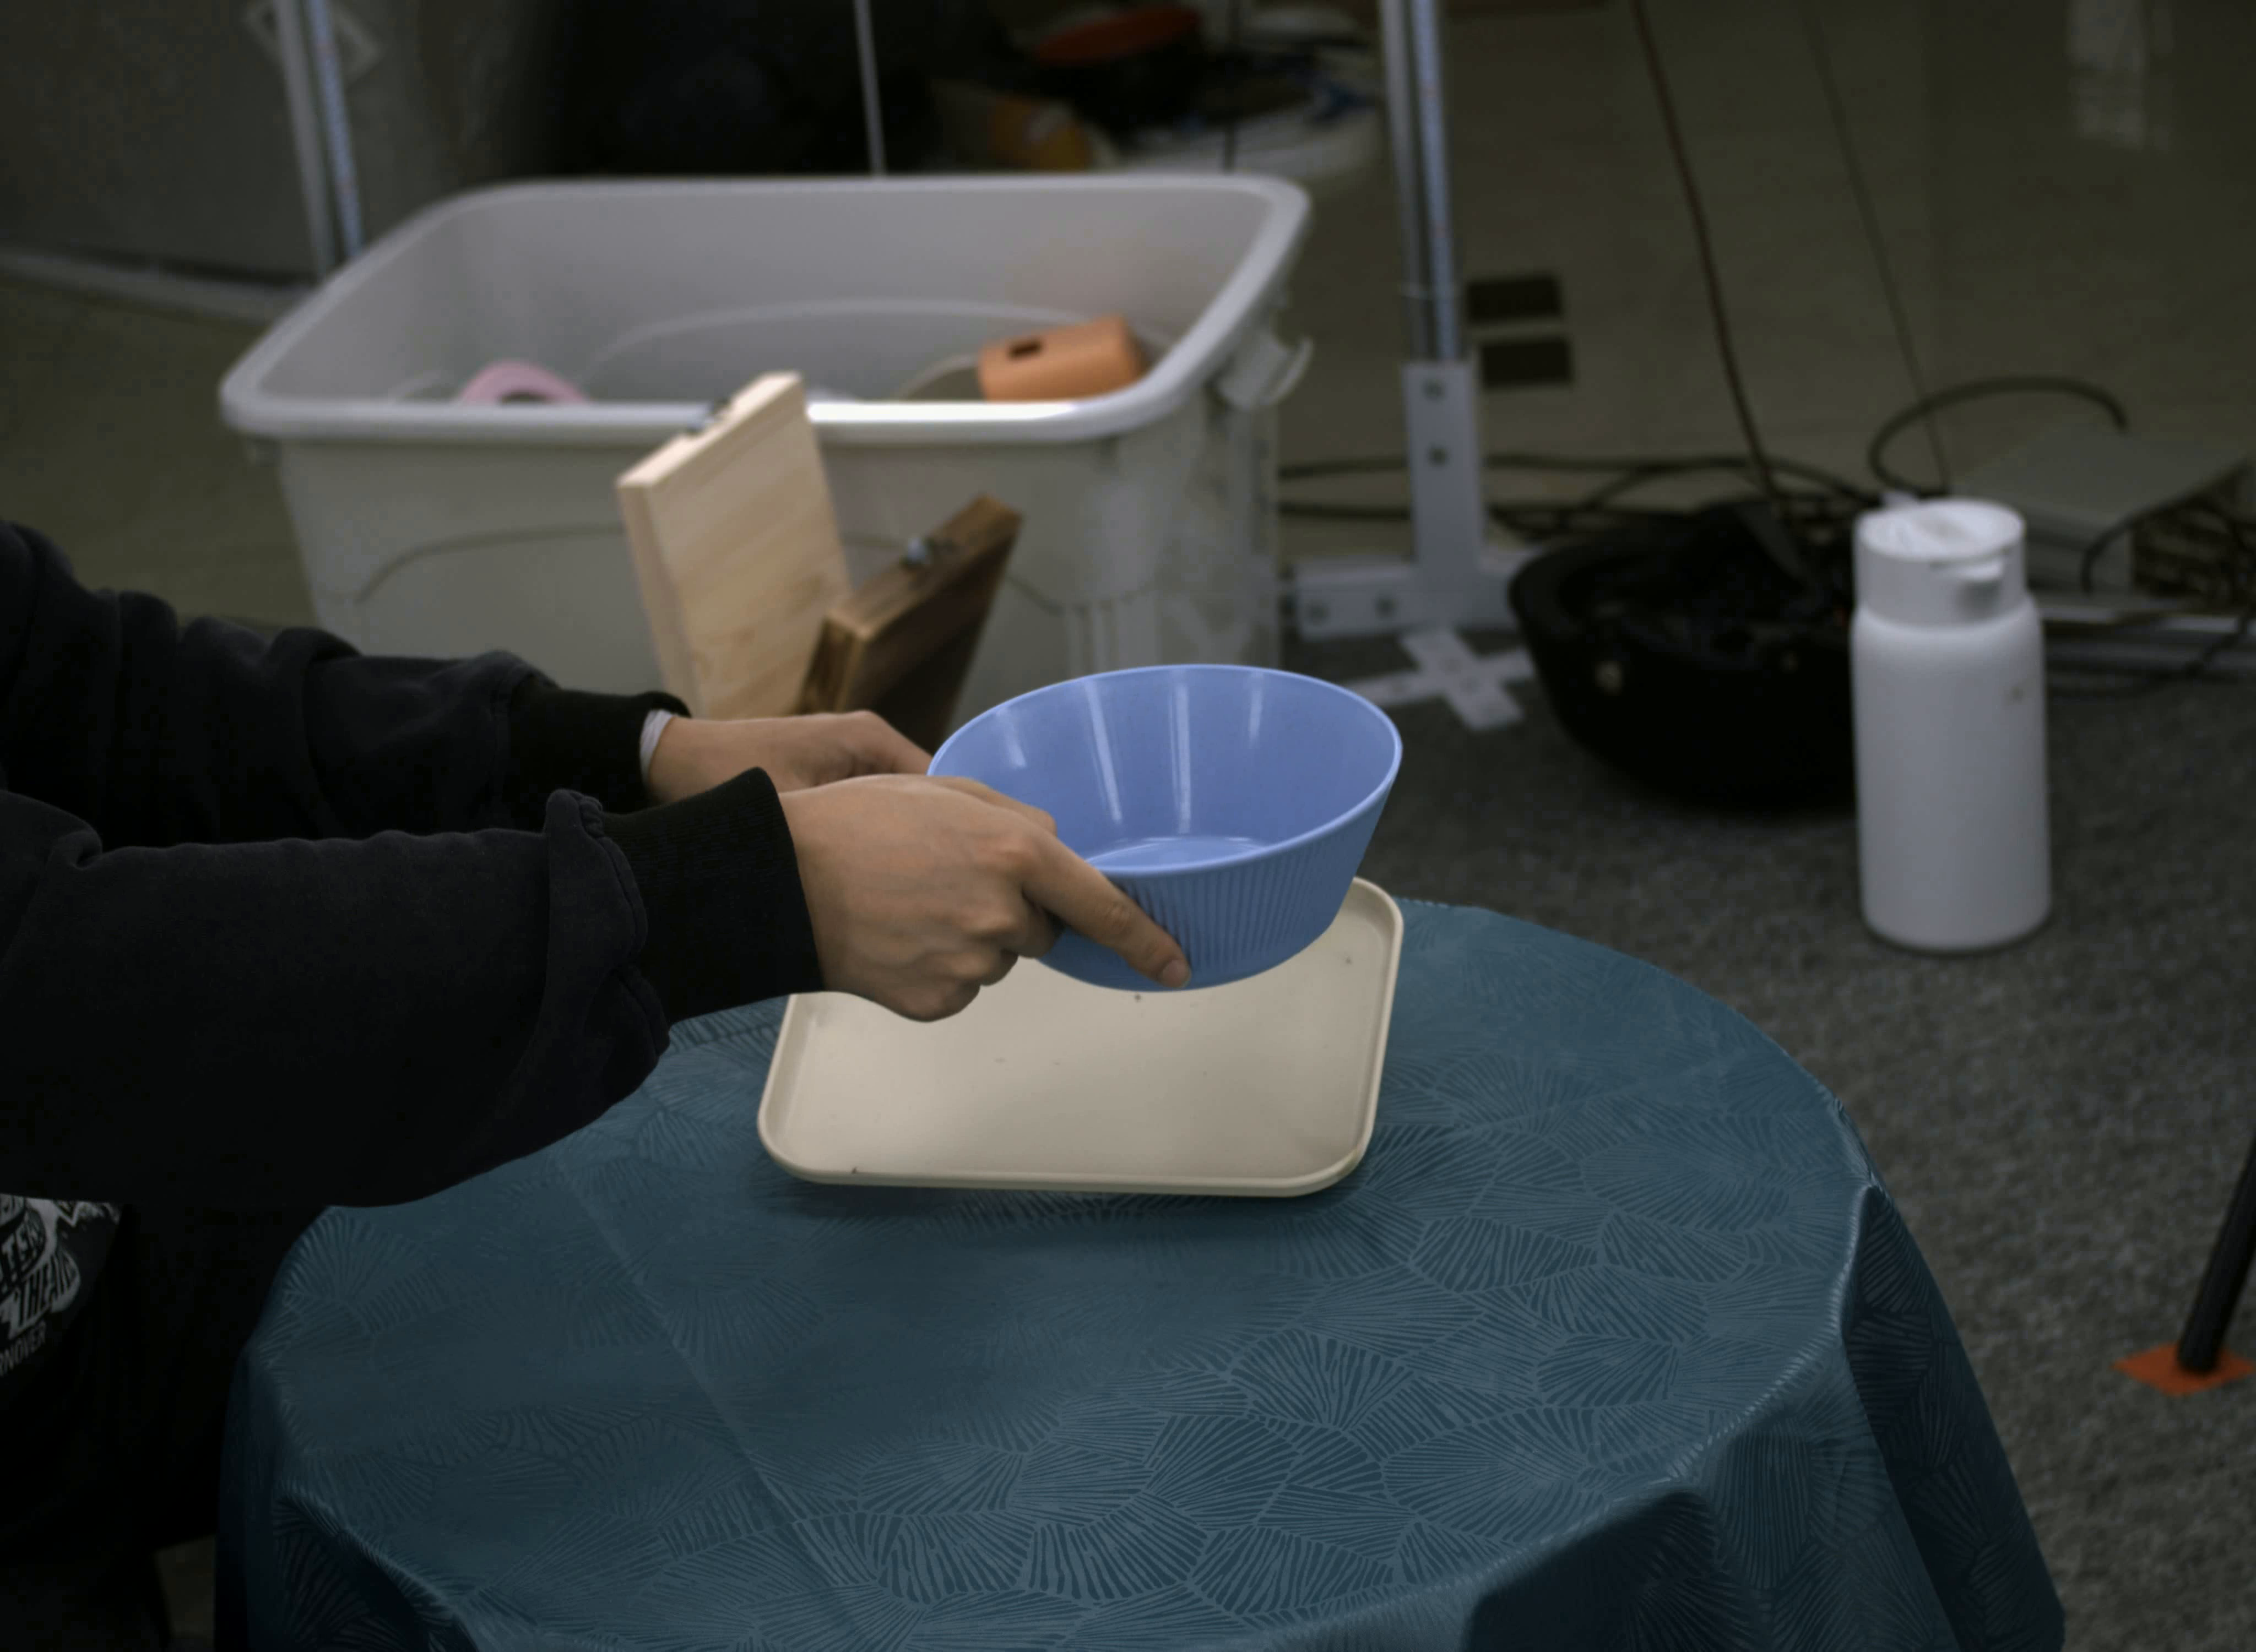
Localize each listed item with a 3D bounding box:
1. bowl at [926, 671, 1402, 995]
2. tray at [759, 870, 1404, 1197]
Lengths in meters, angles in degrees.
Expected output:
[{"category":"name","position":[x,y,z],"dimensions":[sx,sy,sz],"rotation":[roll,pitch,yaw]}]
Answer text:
[{"category":"bowl","position":[0.015,0.008,2.090],"dimensions":[0.176,0.071,0.173],"rotation":[-4,26,2]},{"category":"tray","position":[-0.016,0.081,2.201],"dimensions":[0.239,0.018,0.168],"rotation":[1,44,10]}]
